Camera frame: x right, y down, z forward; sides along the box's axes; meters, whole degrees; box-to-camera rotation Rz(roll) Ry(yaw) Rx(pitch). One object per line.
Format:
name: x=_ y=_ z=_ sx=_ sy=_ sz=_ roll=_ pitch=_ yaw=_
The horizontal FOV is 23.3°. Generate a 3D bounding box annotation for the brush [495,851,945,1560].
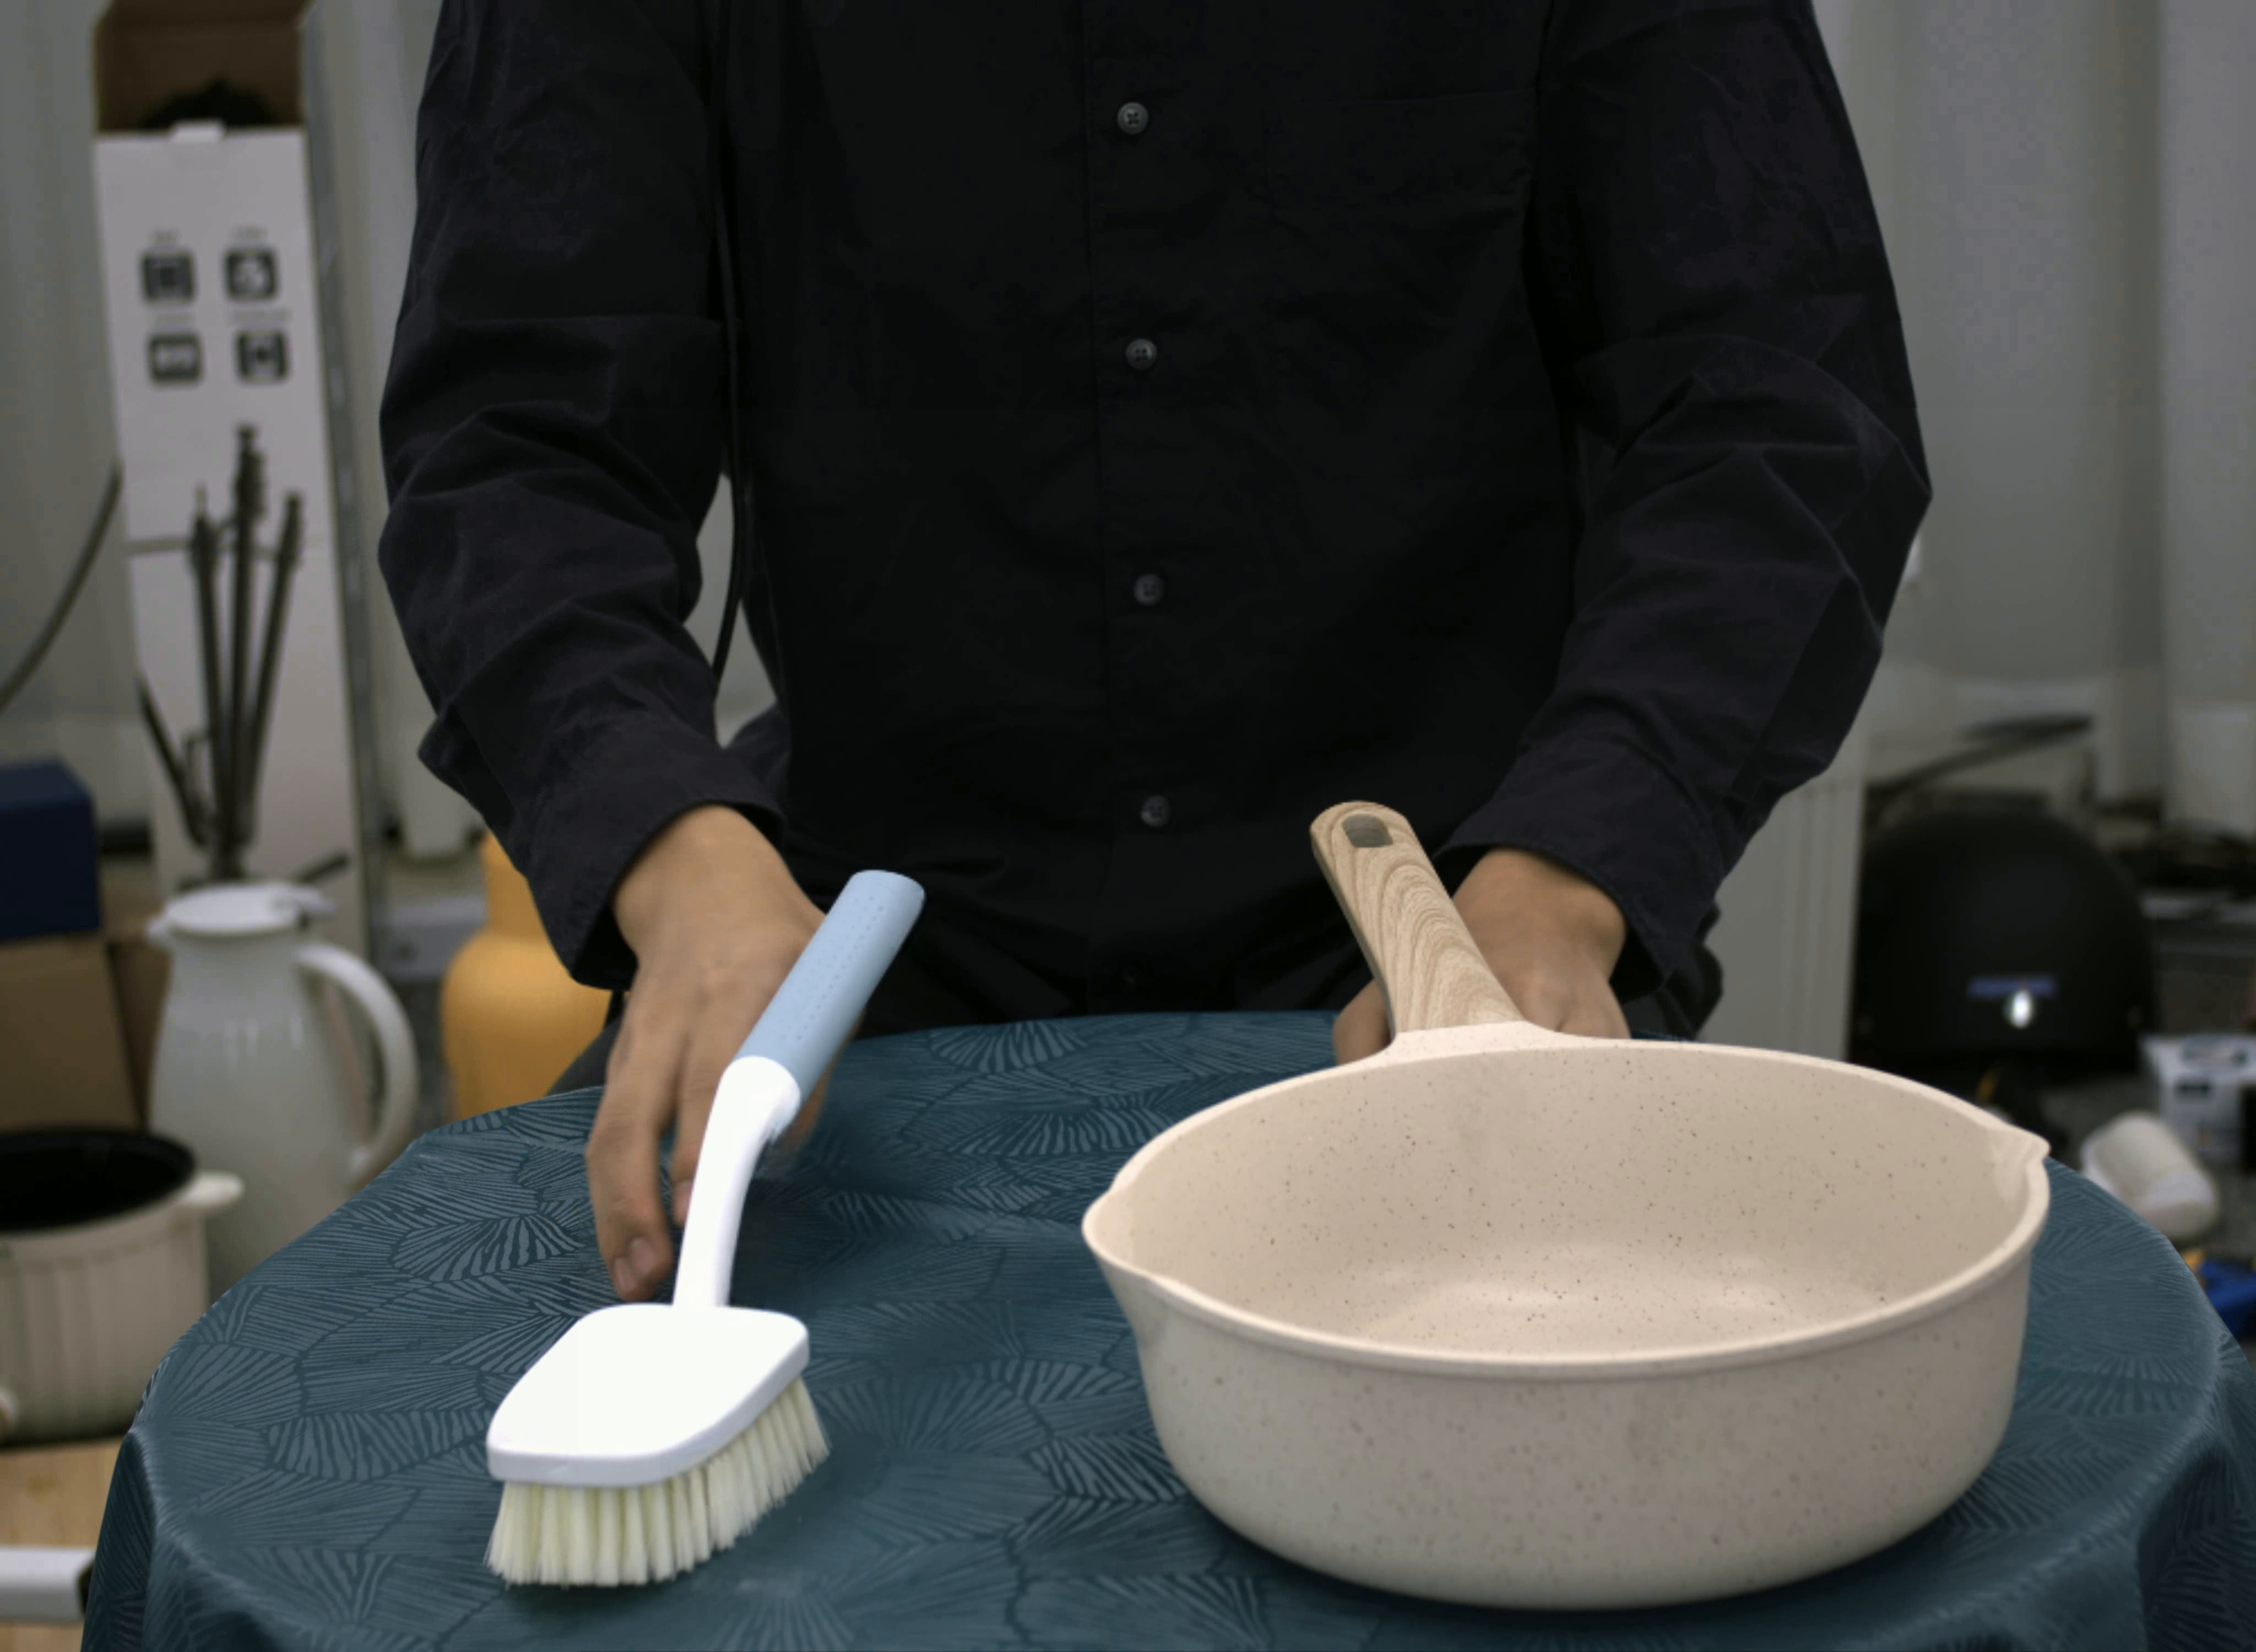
brush: x=-0.101 y=0.119 z=1.559 sx=0.083 sy=0.084 sz=0.328 roll=34 pitch=32 yaw=-3

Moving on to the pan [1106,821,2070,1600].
pan: x=0.110 y=0.102 z=1.554 sx=0.262 sy=0.101 sz=0.438 roll=-6 pitch=16 yaw=-8
